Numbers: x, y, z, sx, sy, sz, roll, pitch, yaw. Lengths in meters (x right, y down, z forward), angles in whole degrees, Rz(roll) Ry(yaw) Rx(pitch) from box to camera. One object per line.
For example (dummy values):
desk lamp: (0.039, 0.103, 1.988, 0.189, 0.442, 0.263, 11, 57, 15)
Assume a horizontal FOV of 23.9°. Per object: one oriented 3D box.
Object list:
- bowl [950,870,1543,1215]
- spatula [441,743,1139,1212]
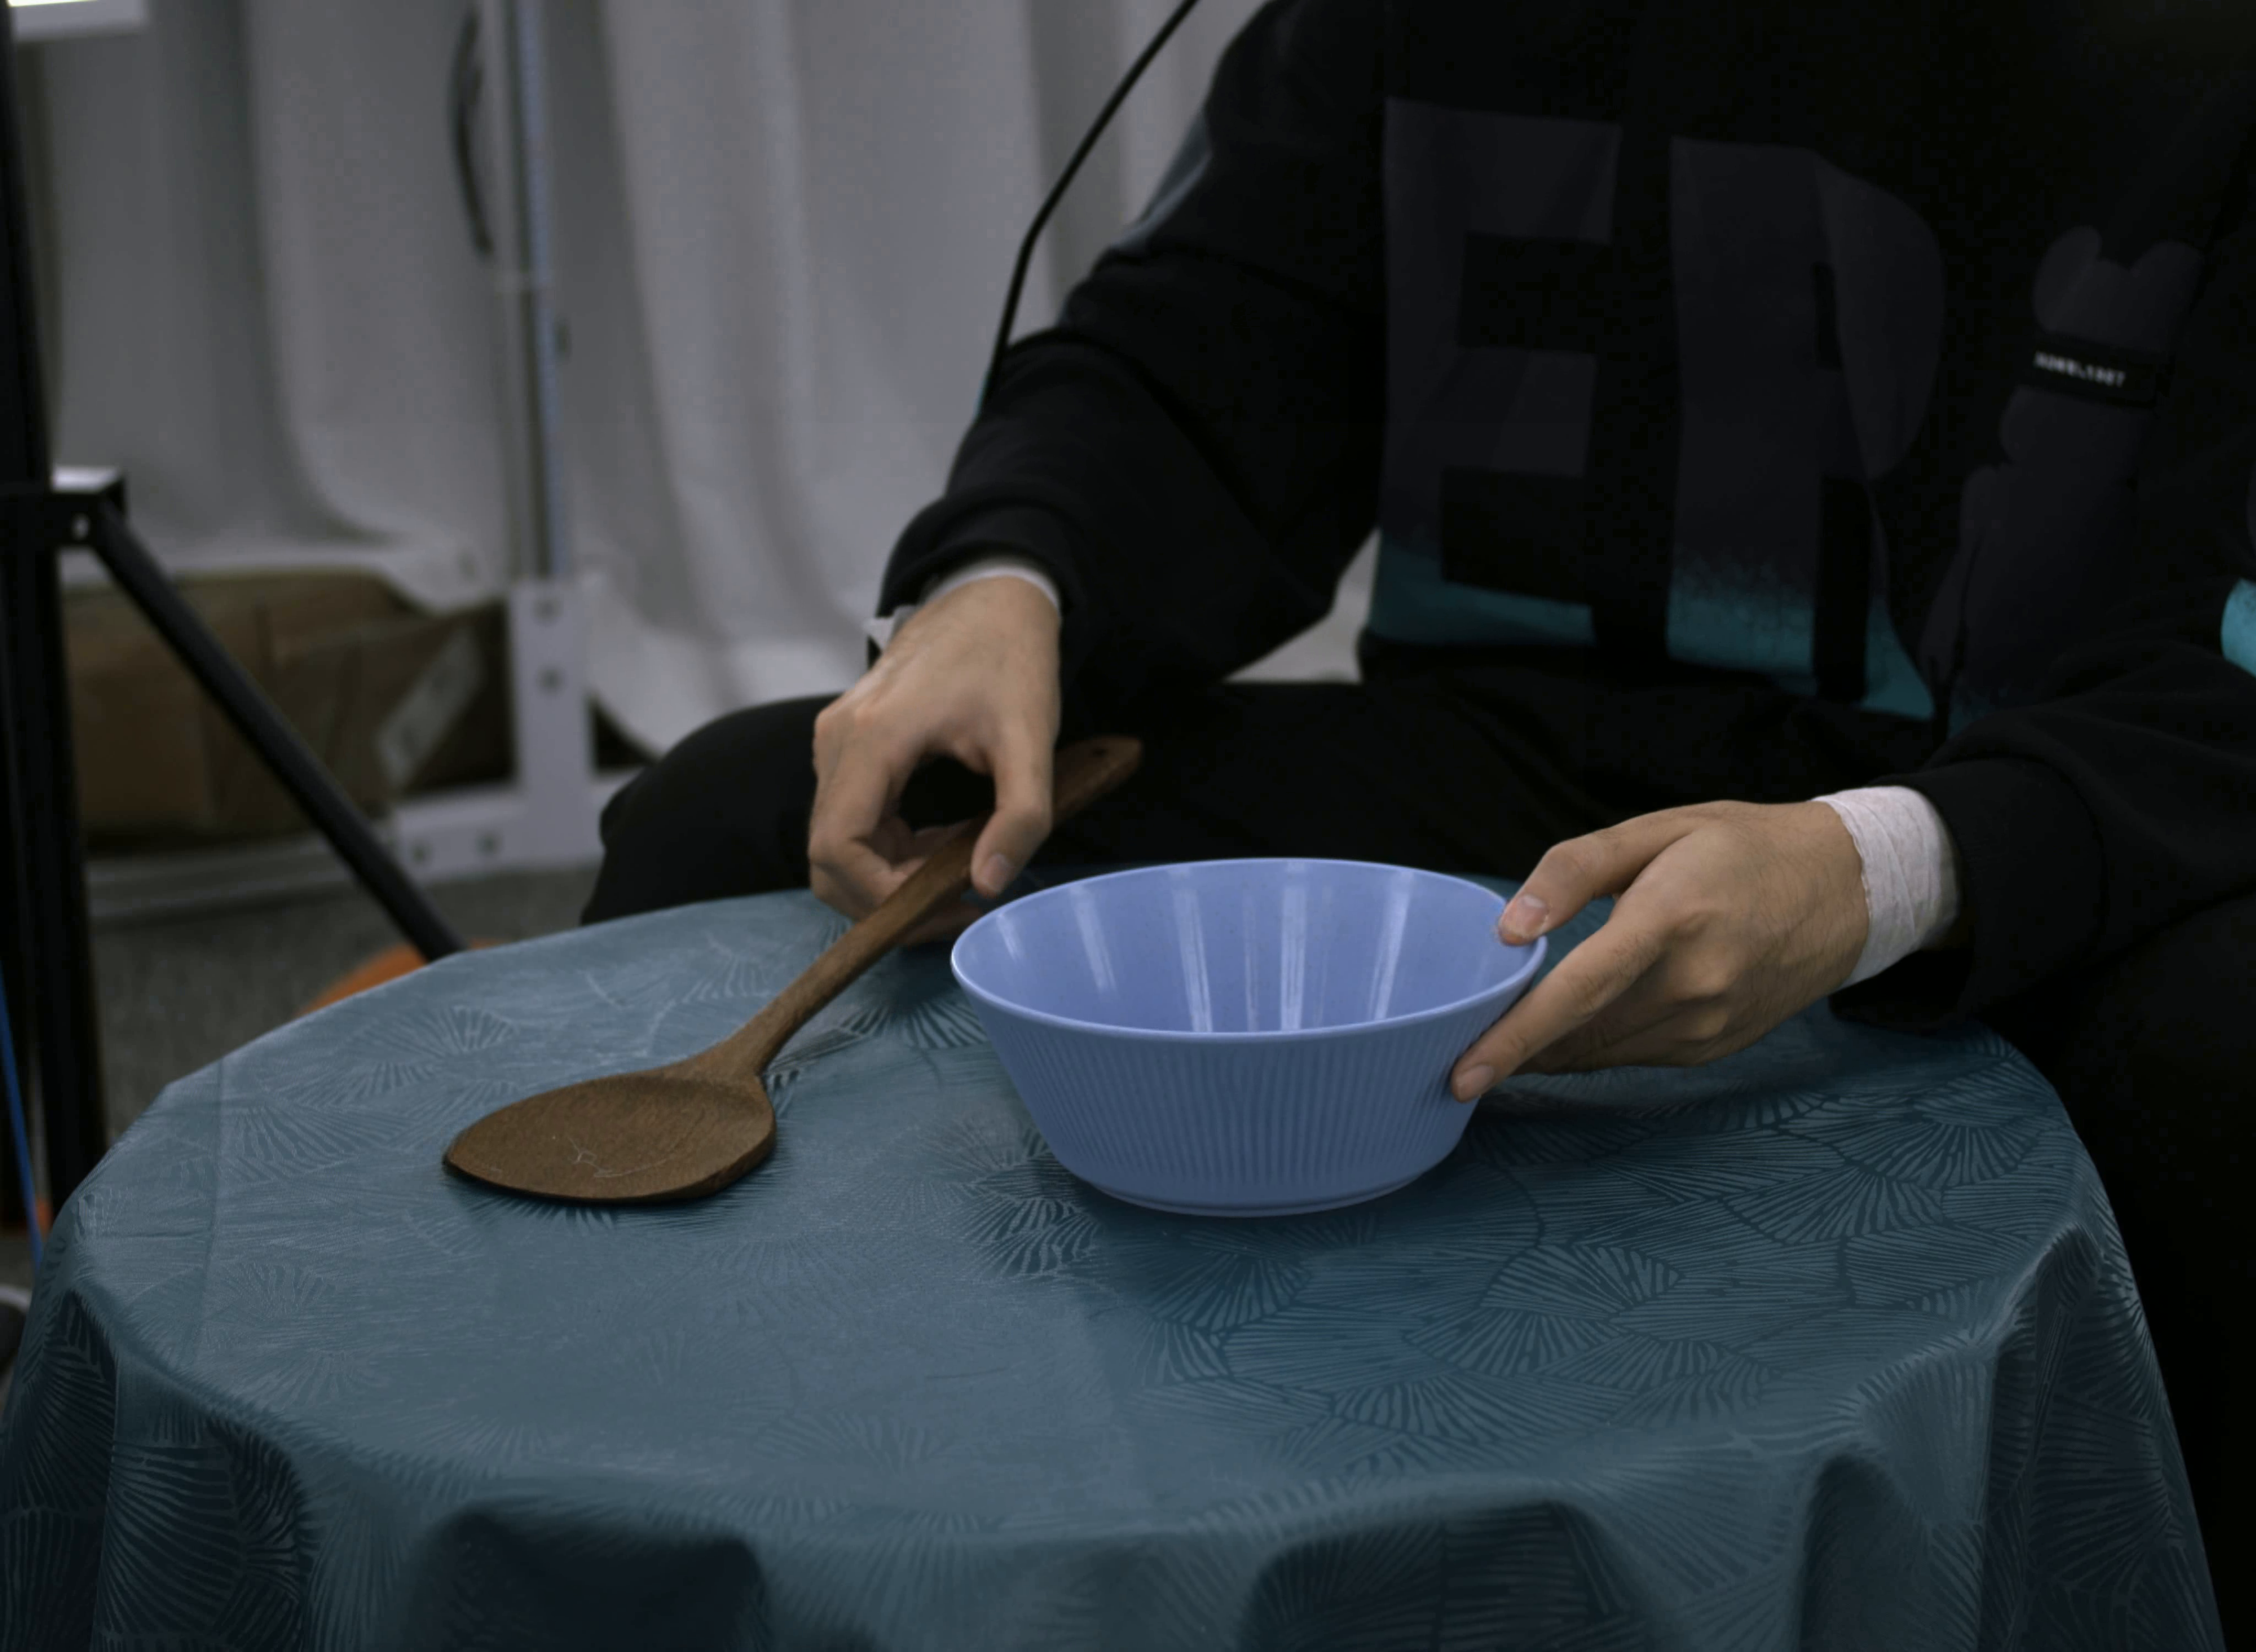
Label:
bowl: (0.035, 0.066, 1.573, 0.175, 0.070, 0.177, -2, 15, -1)
spatula: (-0.088, 0.042, 1.729, 0.097, 0.016, 0.381, 6, 25, 27)
